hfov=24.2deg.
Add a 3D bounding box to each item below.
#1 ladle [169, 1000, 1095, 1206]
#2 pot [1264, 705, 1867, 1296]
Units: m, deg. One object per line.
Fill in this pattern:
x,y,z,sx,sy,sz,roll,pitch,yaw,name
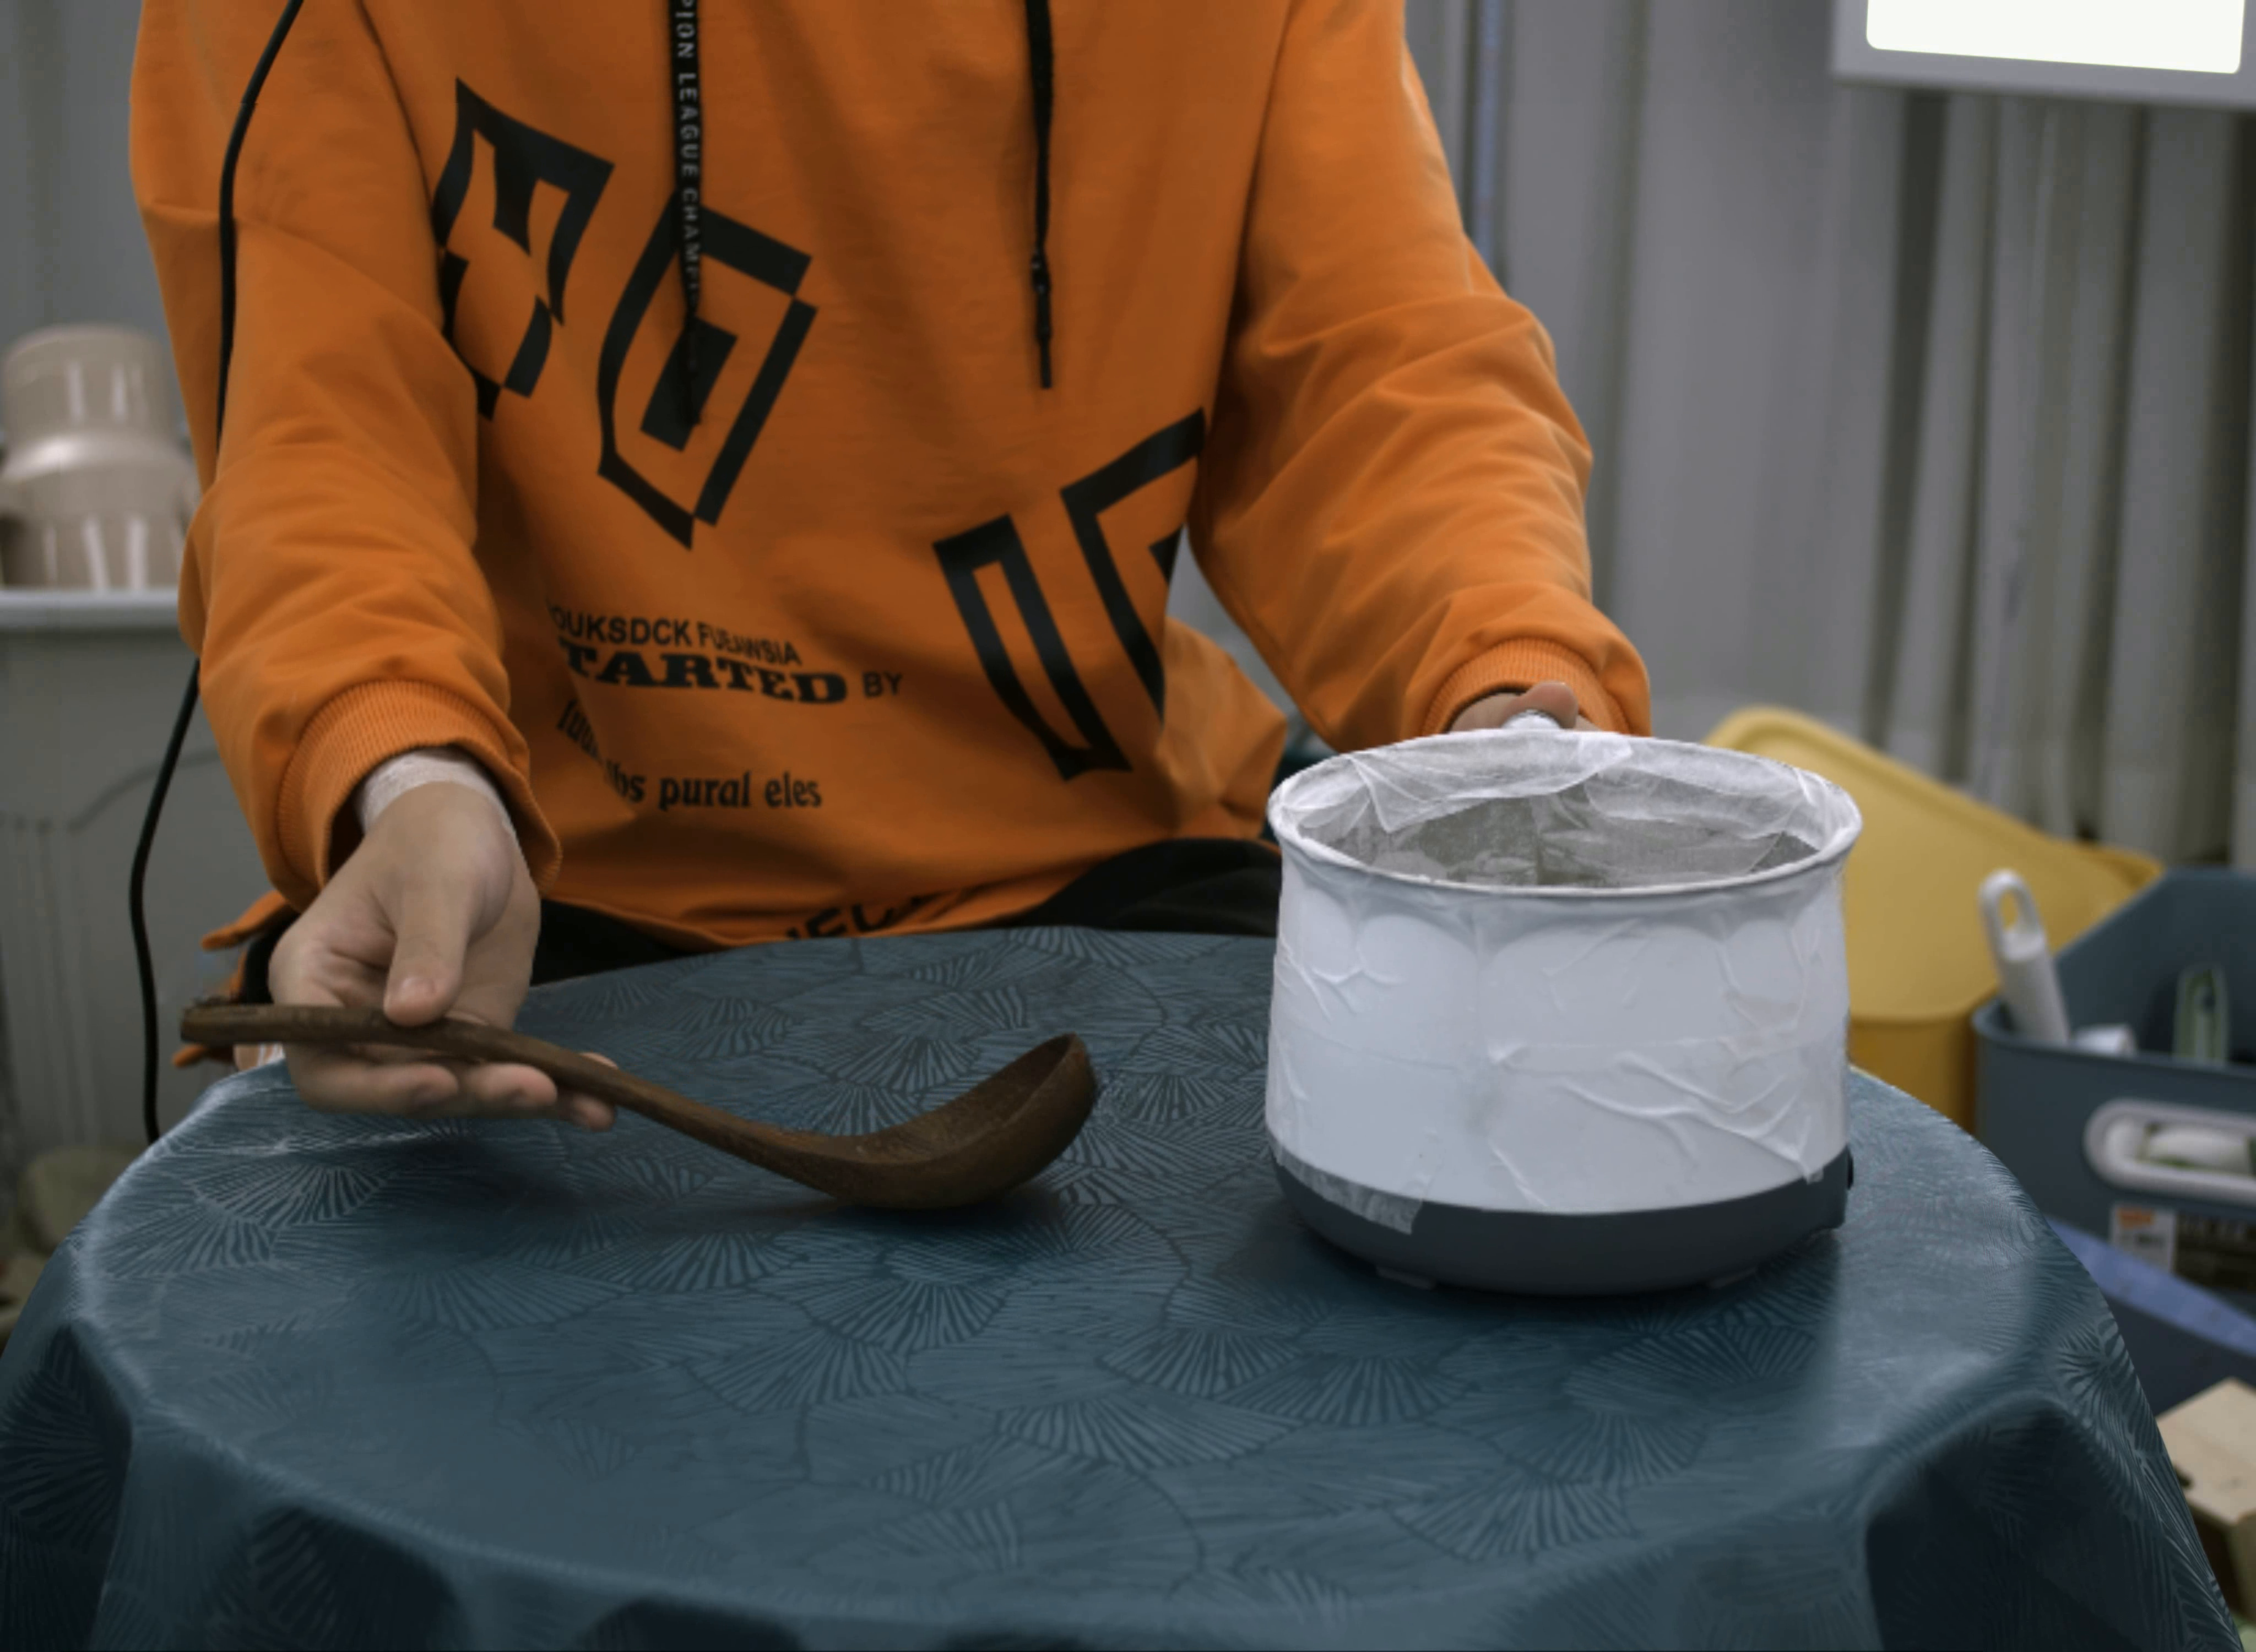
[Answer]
-0.147,0.061,1.589,0.274,0.071,0.076,15,4,-6,ladle
0.128,0.048,1.601,0.178,0.138,0.232,0,16,-3,pot
